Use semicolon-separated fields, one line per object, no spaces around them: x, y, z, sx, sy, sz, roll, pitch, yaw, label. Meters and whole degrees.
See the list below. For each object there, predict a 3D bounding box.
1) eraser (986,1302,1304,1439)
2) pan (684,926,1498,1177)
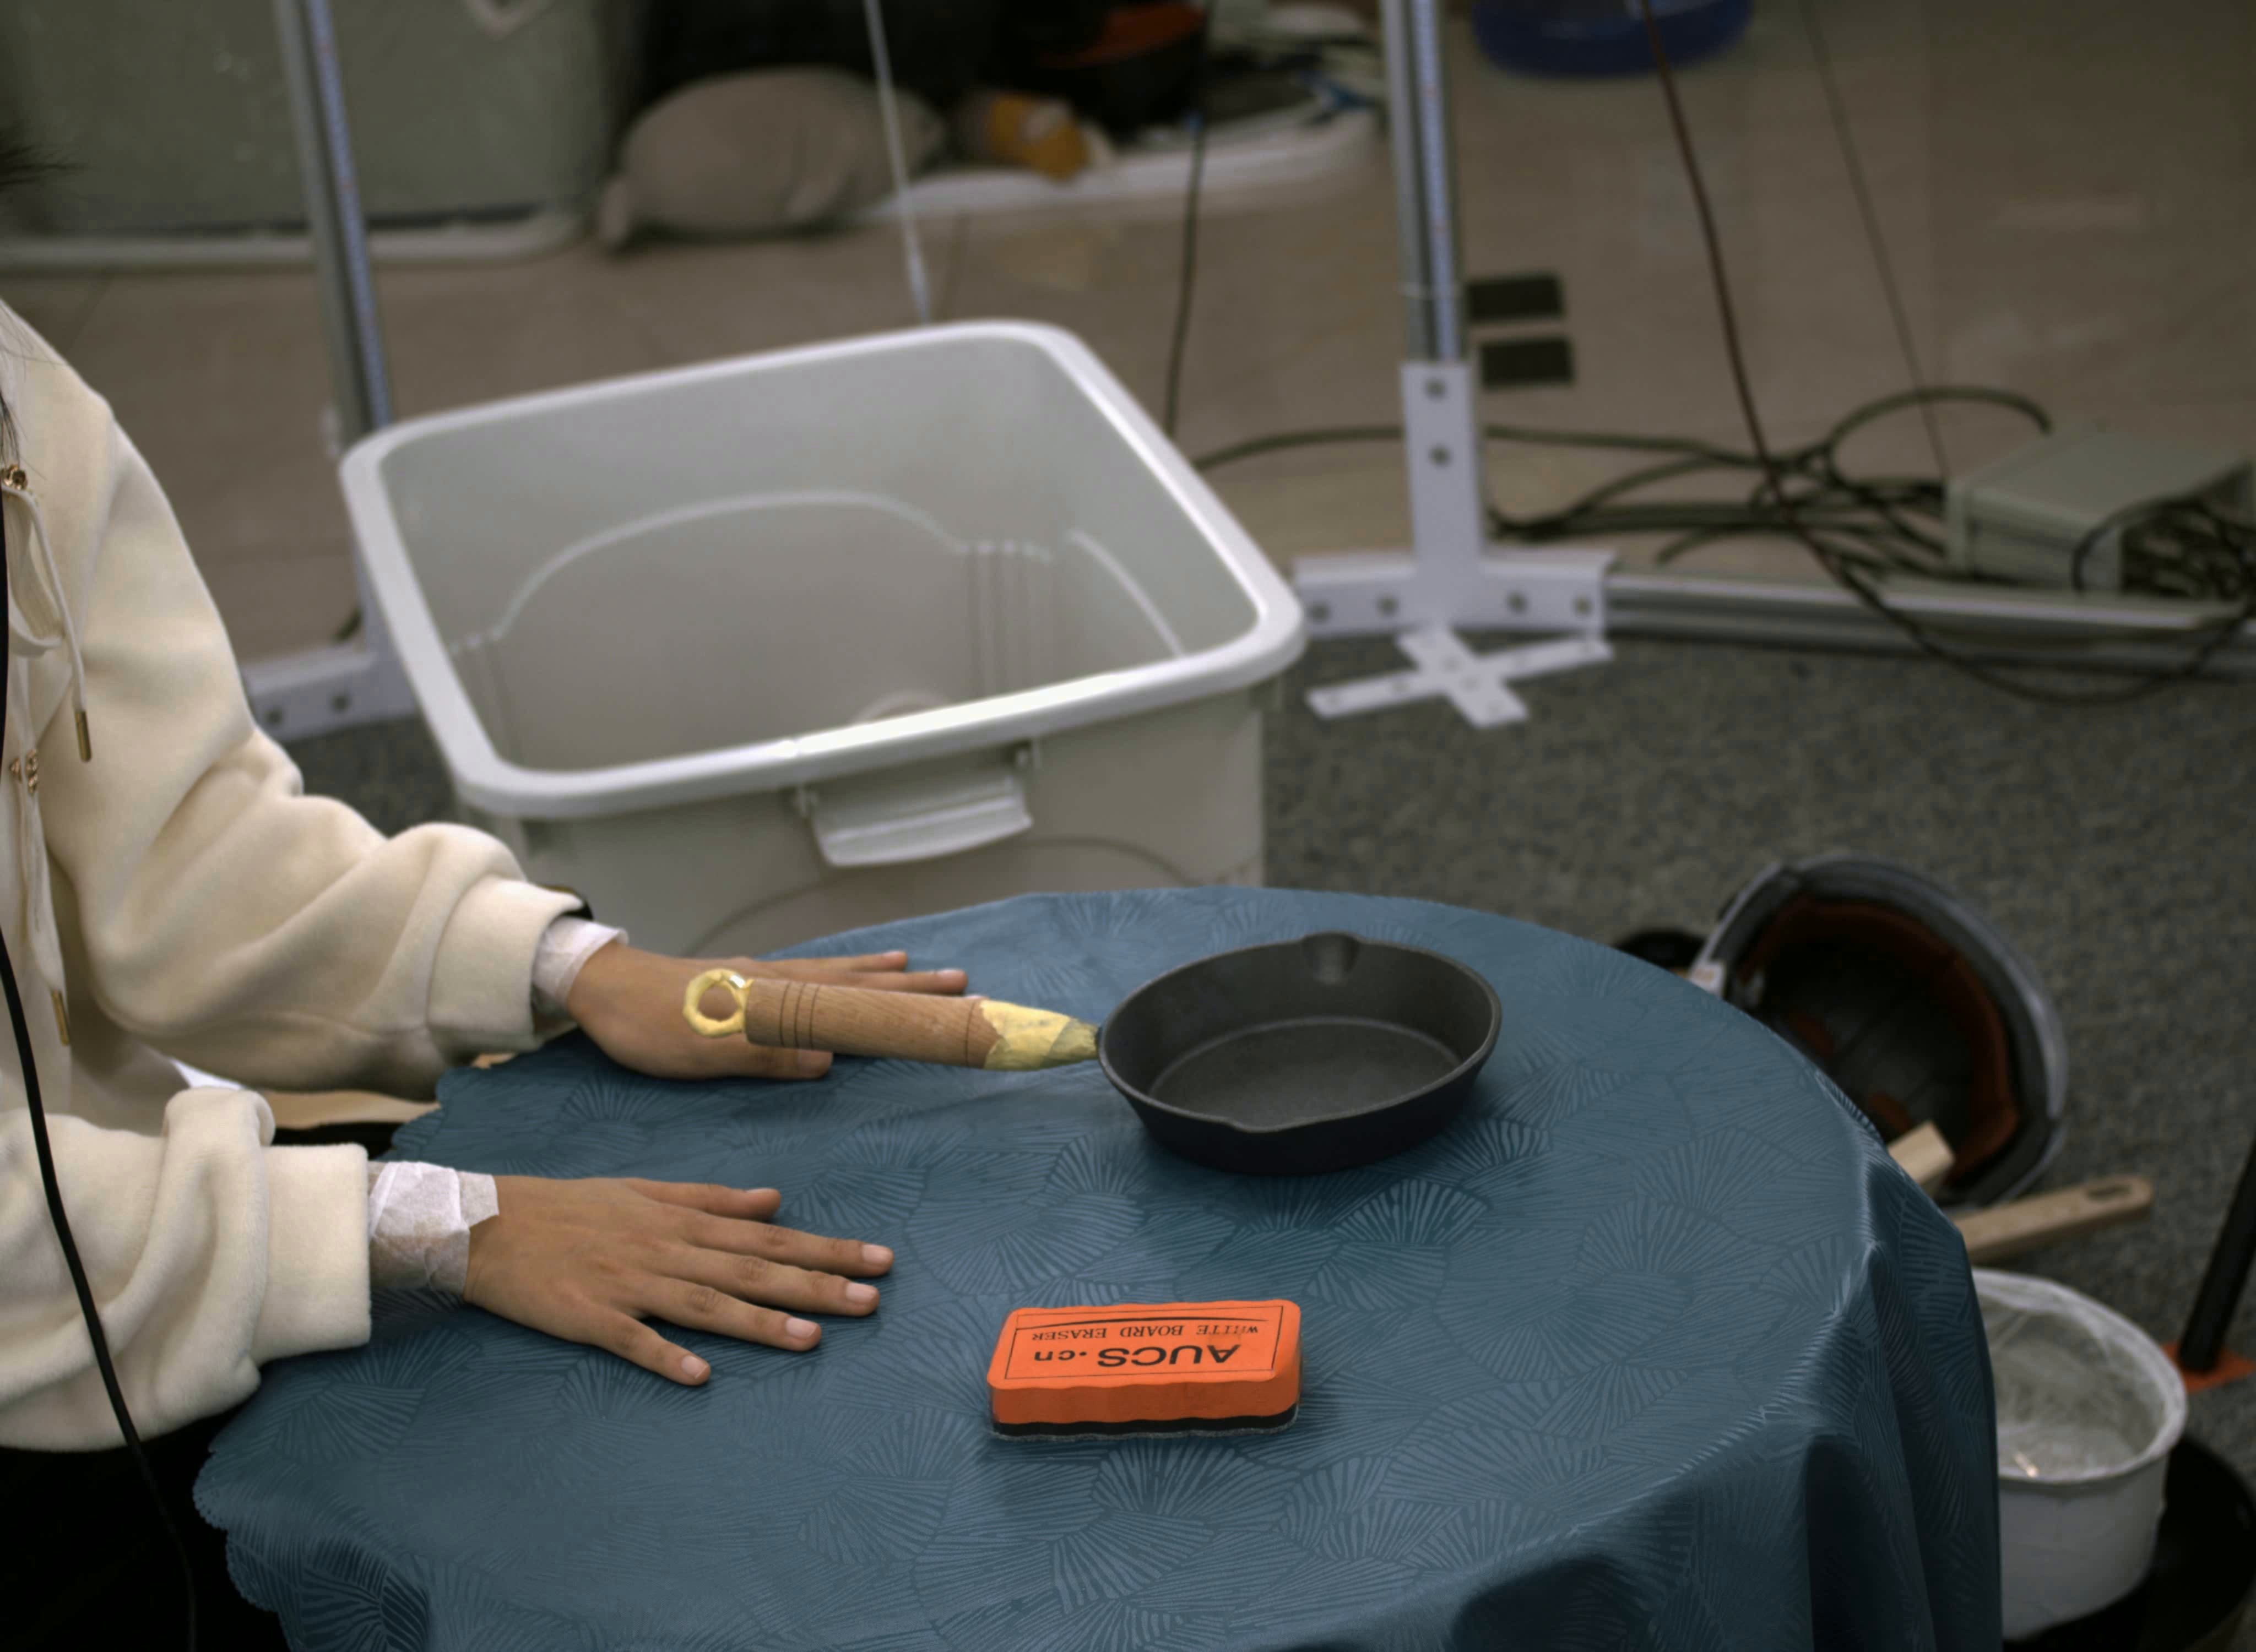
0.006;0.192;2.005;0.108;0.023;0.058;-2;26;10;eraser
-0.016;0.084;2.209;0.323;0.050;0.166;1;26;14;pan
